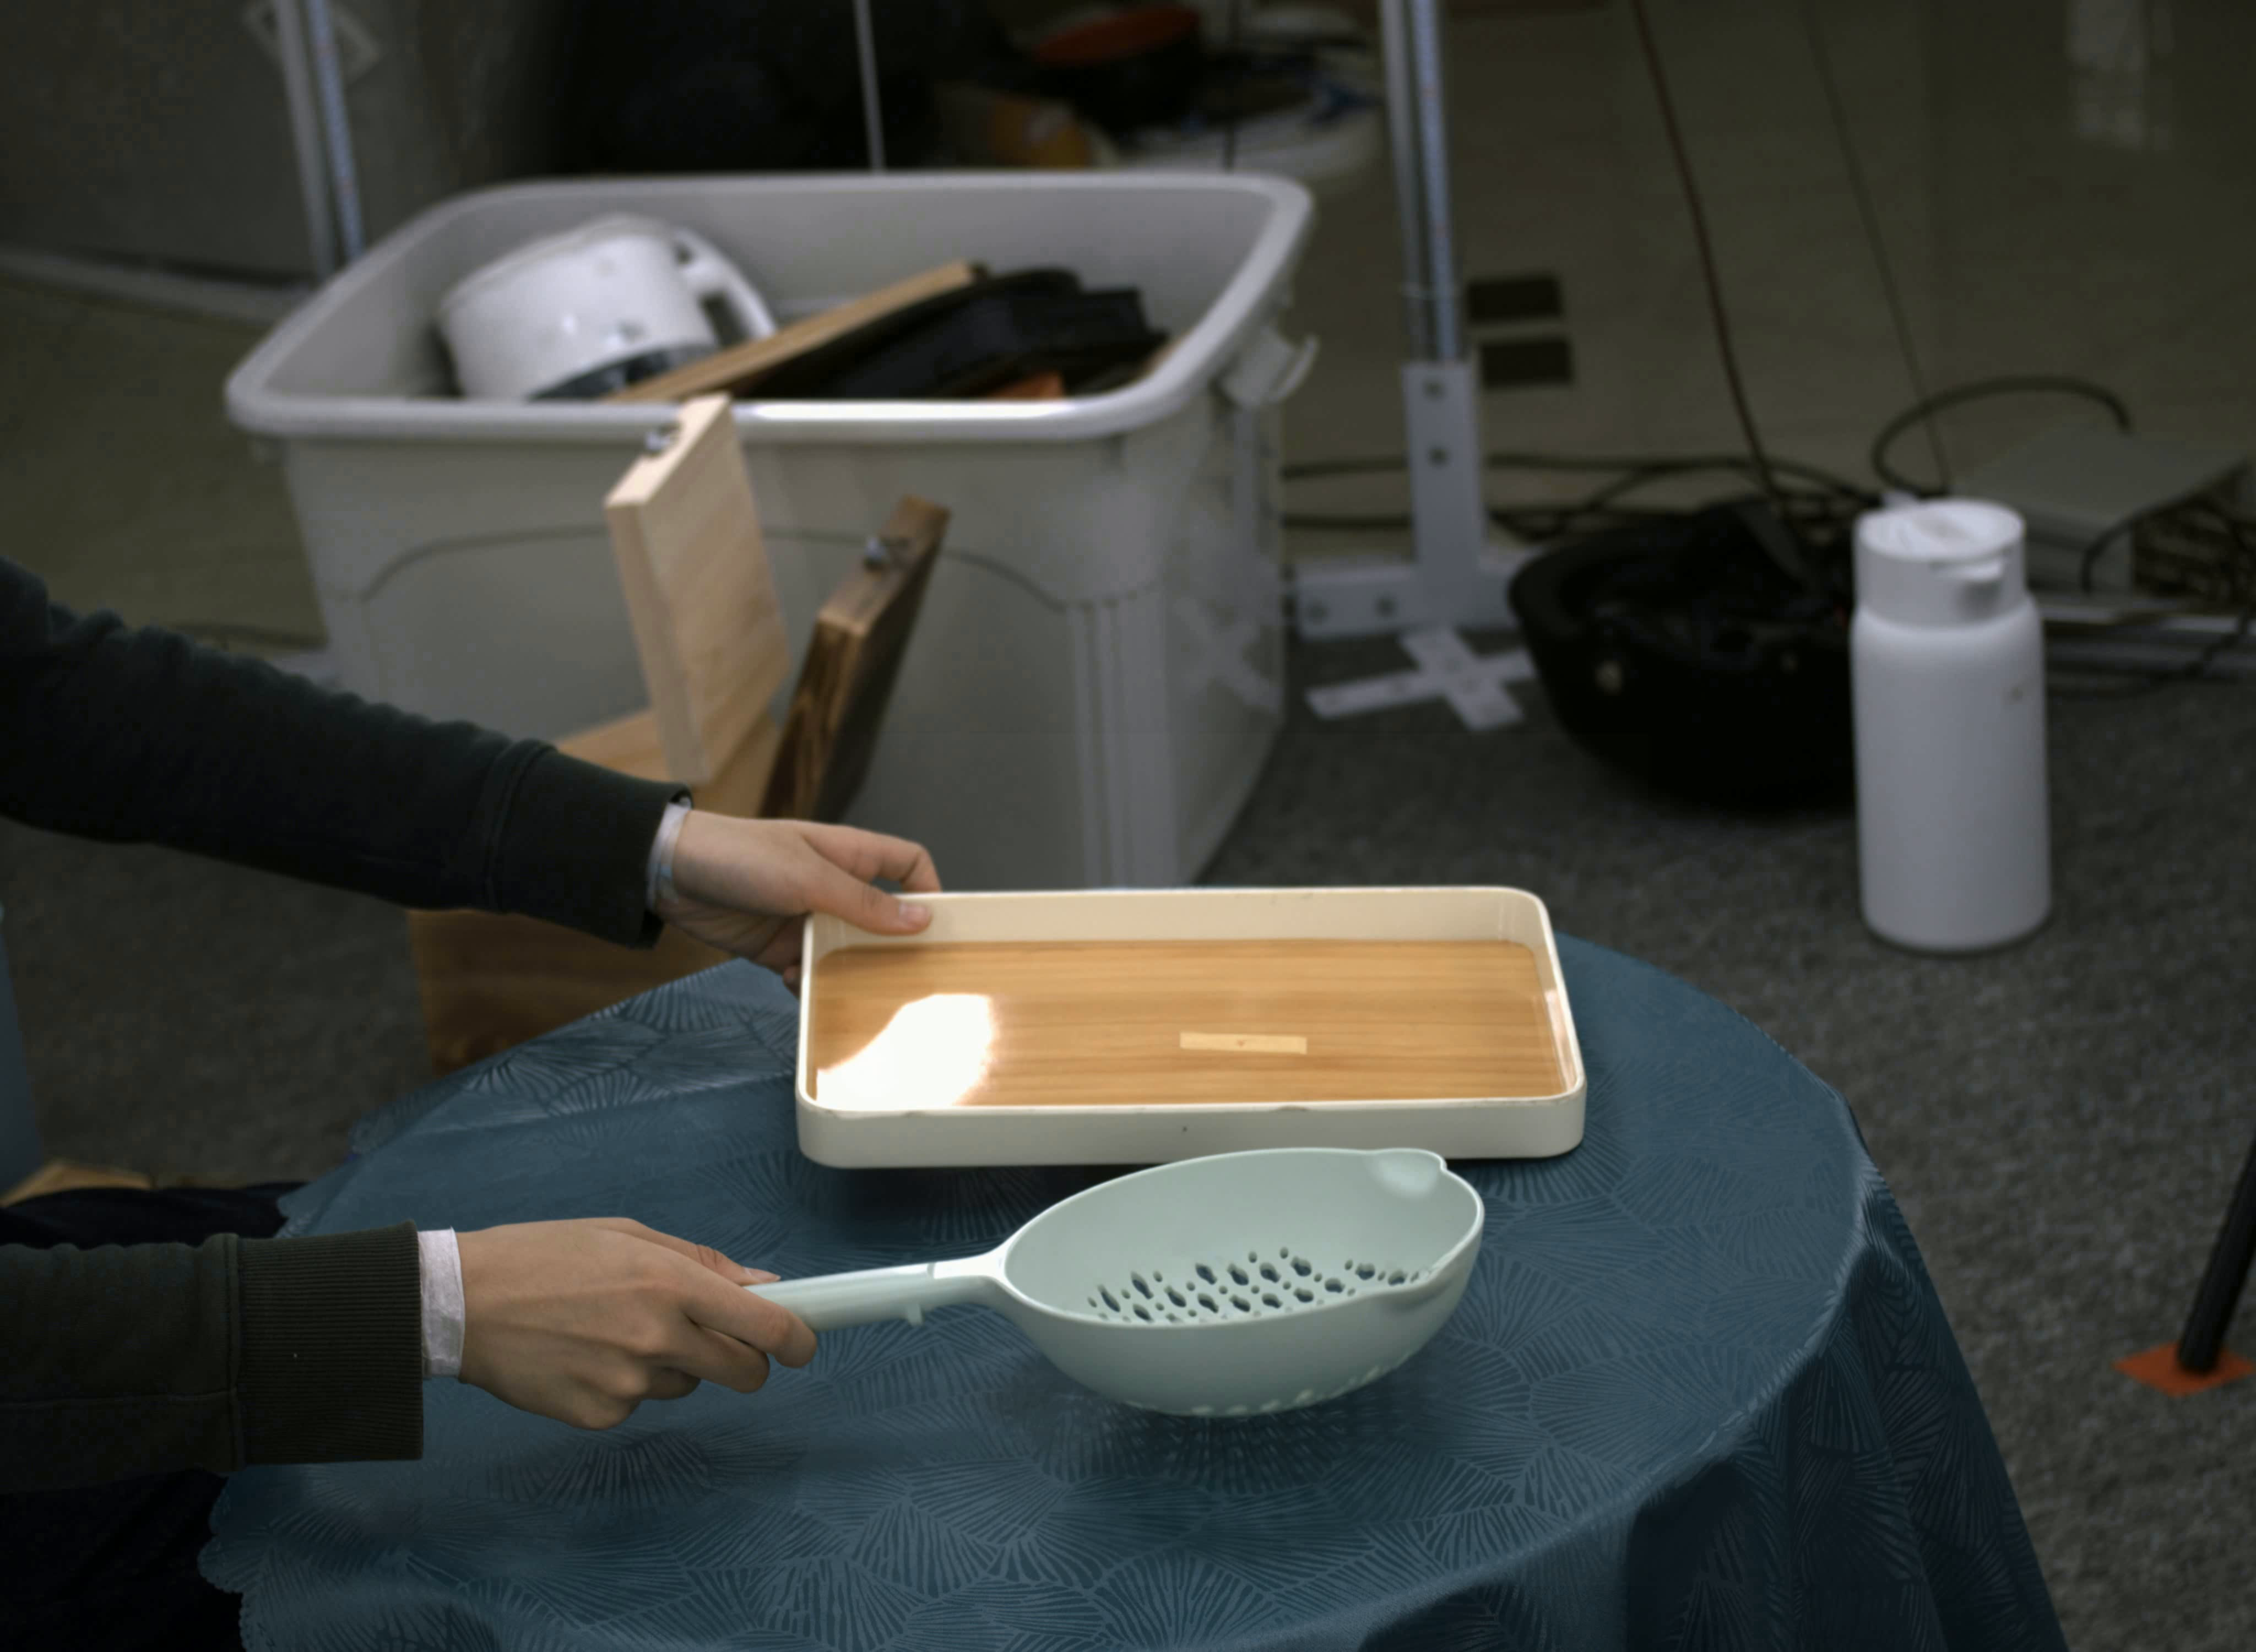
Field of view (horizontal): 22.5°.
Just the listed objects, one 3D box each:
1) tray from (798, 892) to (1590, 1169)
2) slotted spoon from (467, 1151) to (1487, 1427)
[{"bbox_3d":[0.023,0.079,2.212,0.300,0.028,0.189,0,25,-2],"label":"tray"},{"bbox_3d":[-0.055,0.167,1.993,0.358,0.076,0.167,1,17,1],"label":"slotted spoon"}]
